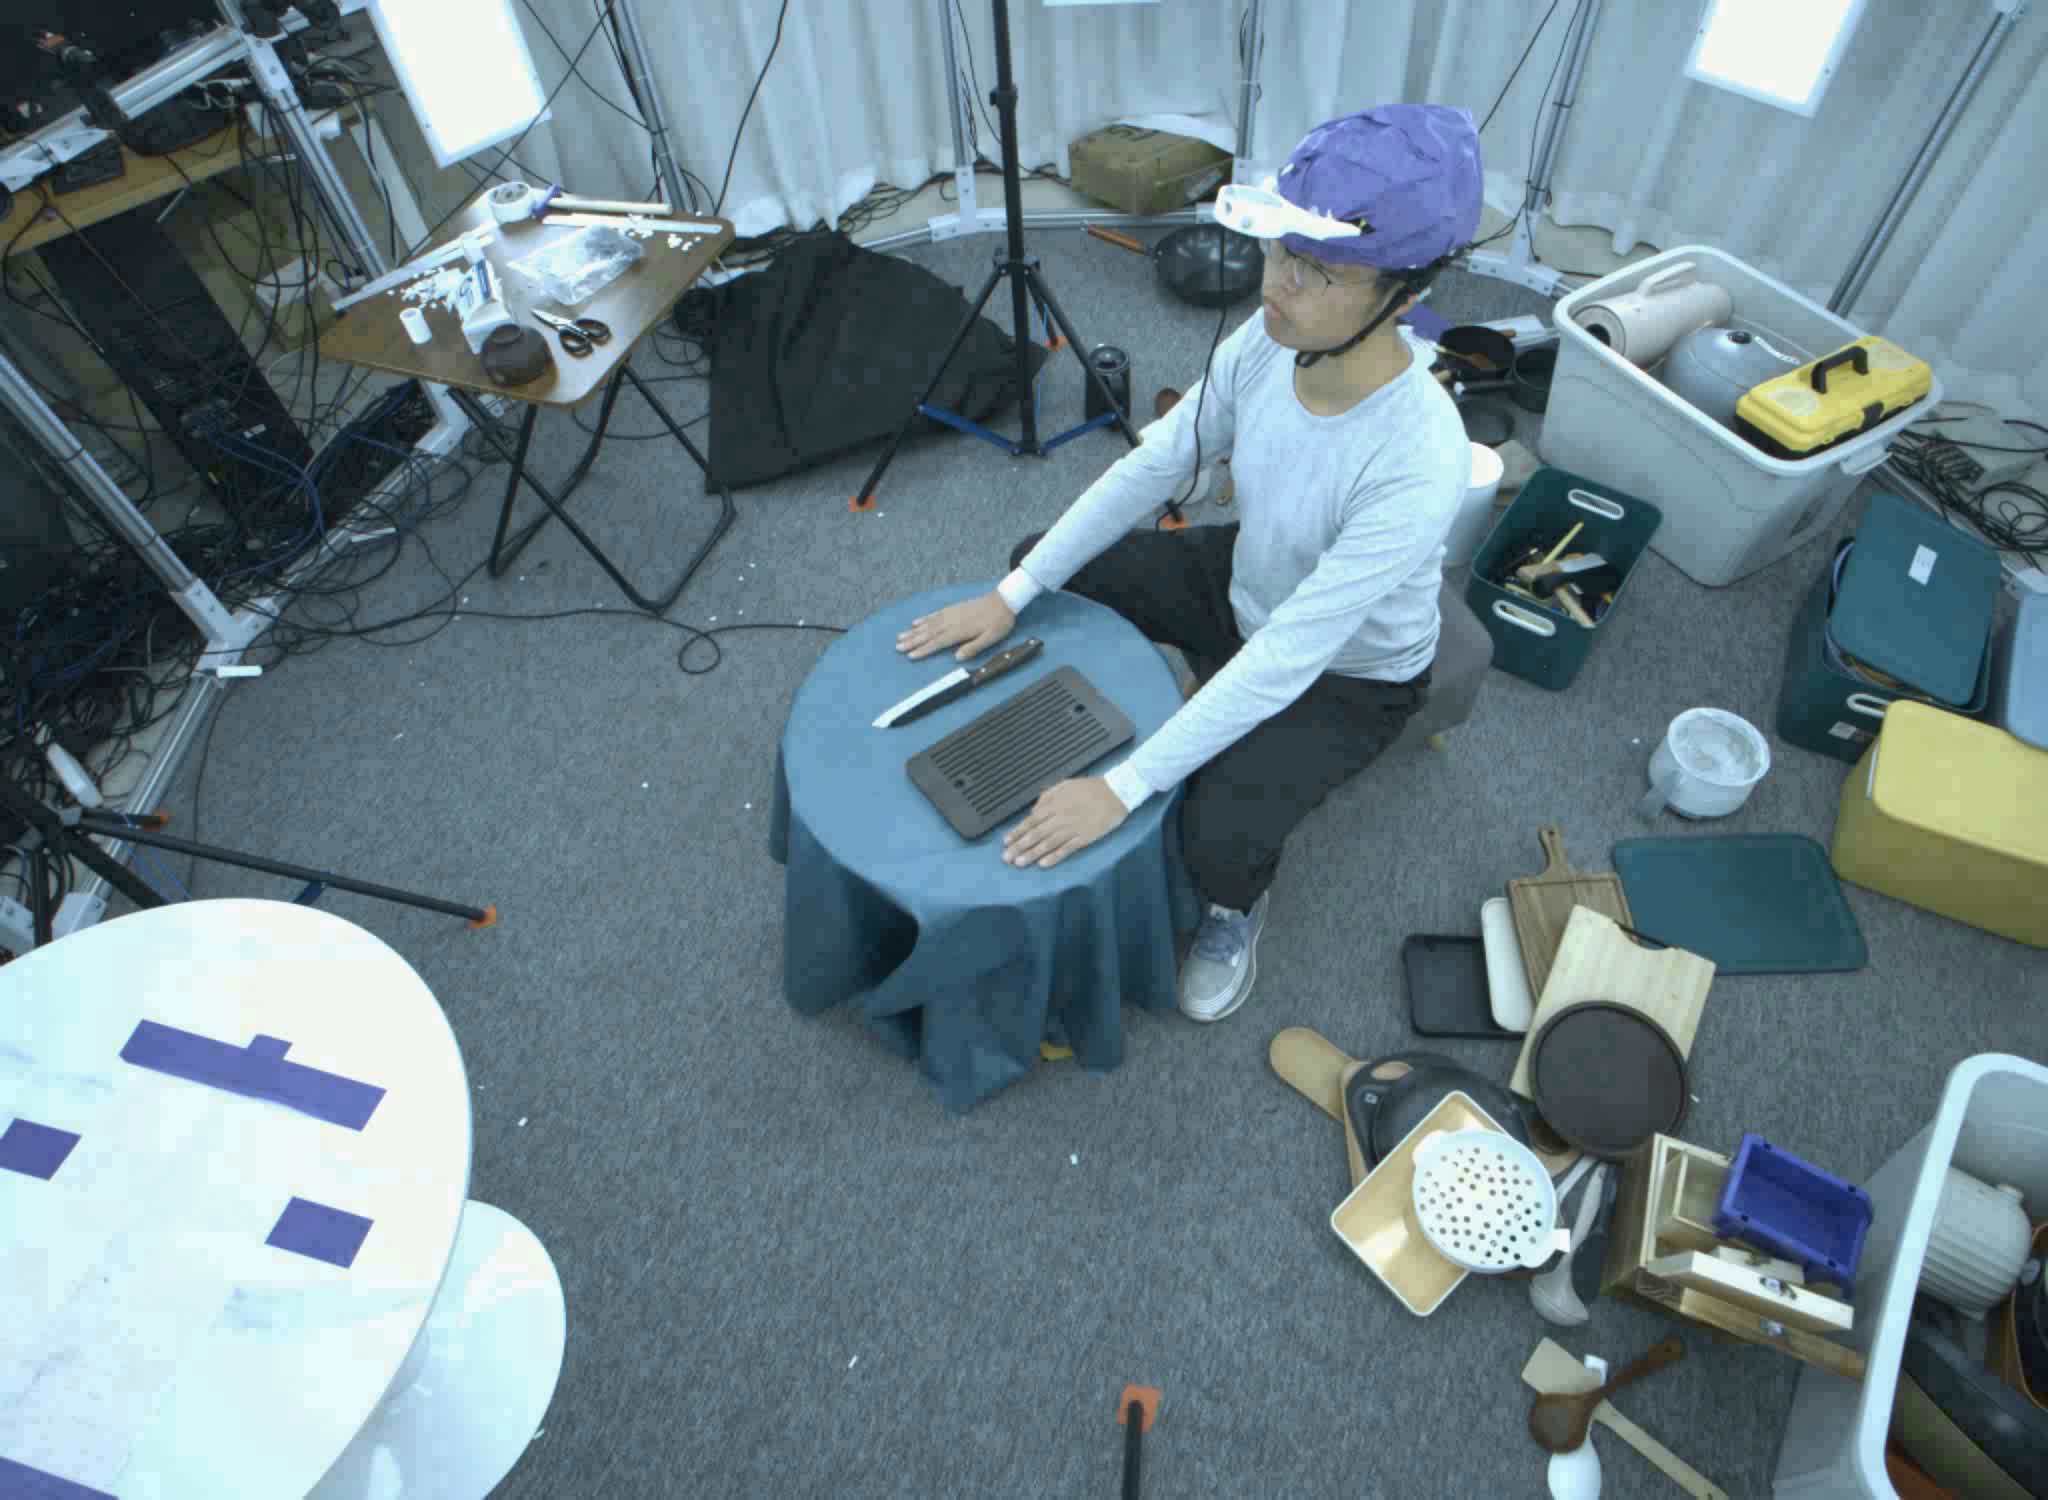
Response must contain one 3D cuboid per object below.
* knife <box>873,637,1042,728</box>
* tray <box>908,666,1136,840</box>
[{"bbox_3d":[-0.100,-0.101,1.861,0.291,0.020,0.049,-28,53,-15],"label":"knife"},{"bbox_3d":[-0.002,0.000,1.784,0.308,0.019,0.167,-32,59,-20],"label":"tray"}]
